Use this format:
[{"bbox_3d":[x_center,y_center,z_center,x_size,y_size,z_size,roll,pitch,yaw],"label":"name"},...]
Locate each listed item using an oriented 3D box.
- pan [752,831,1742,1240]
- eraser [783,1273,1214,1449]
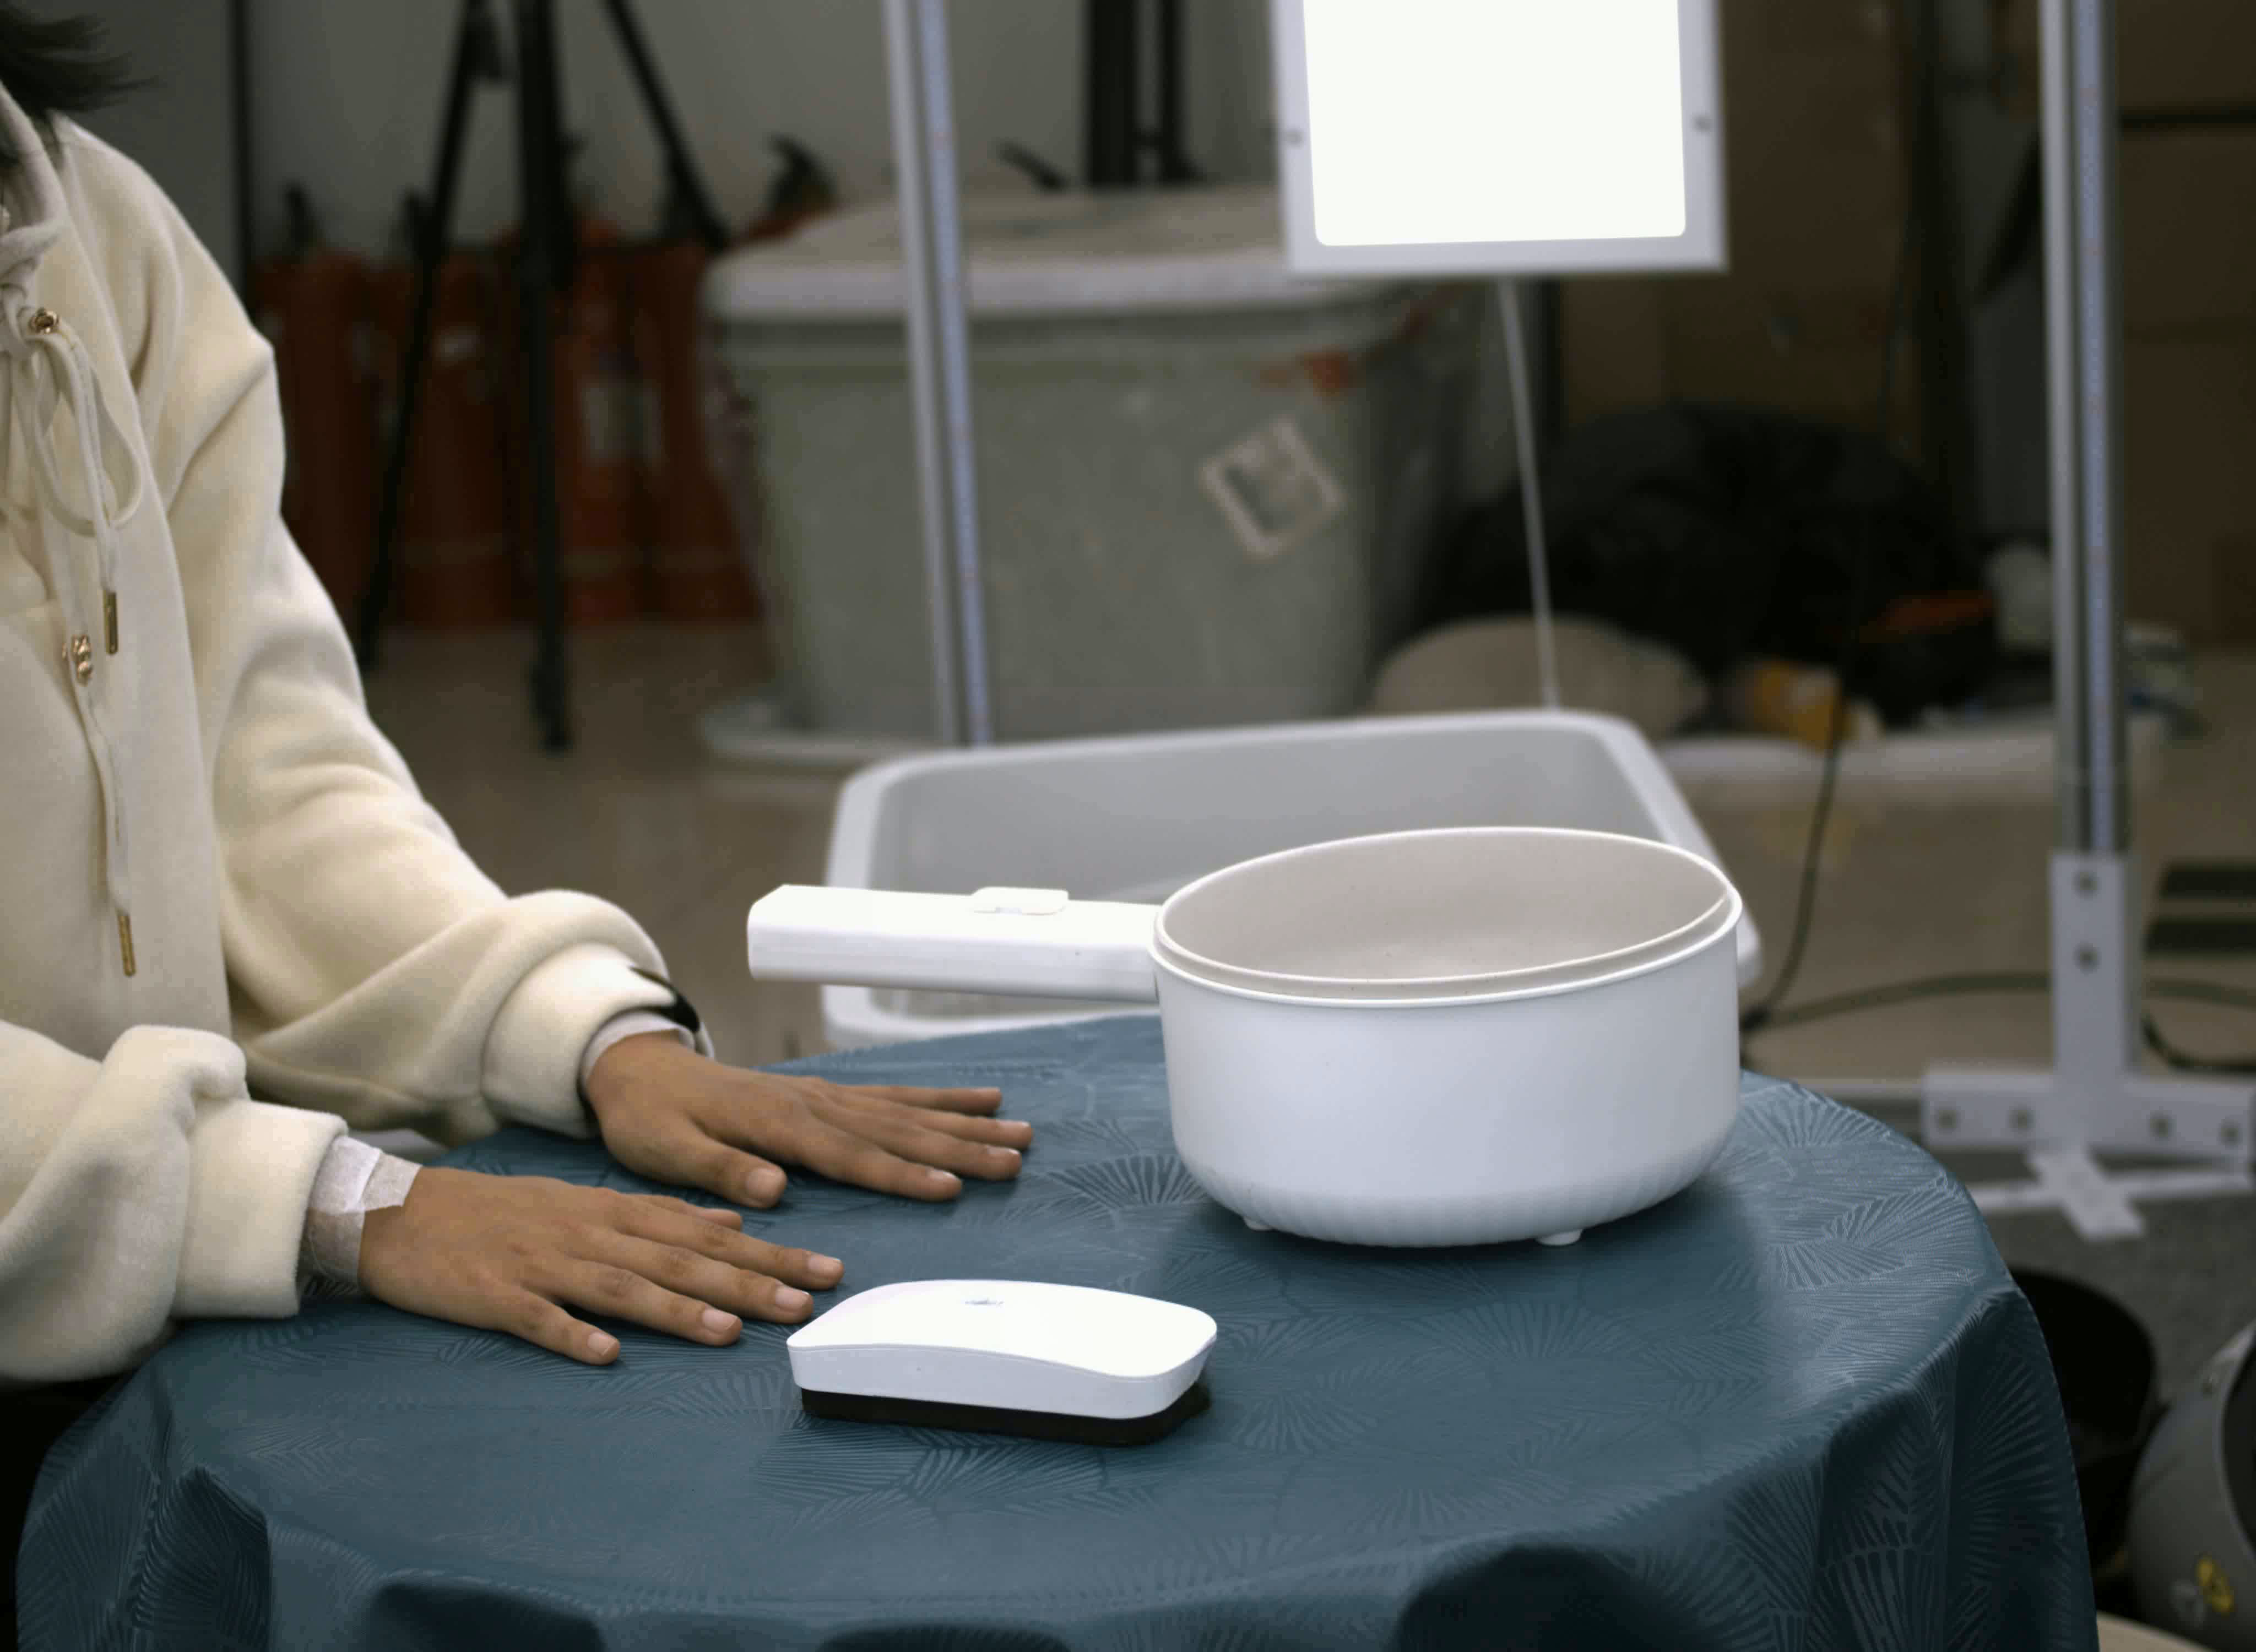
[{"bbox_3d":[0.039,0.074,1.892,0.360,0.102,0.197,-1,13,24],"label":"pan"},{"bbox_3d":[-0.039,0.164,1.697,0.133,0.034,0.062,3,13,28],"label":"eraser"}]
